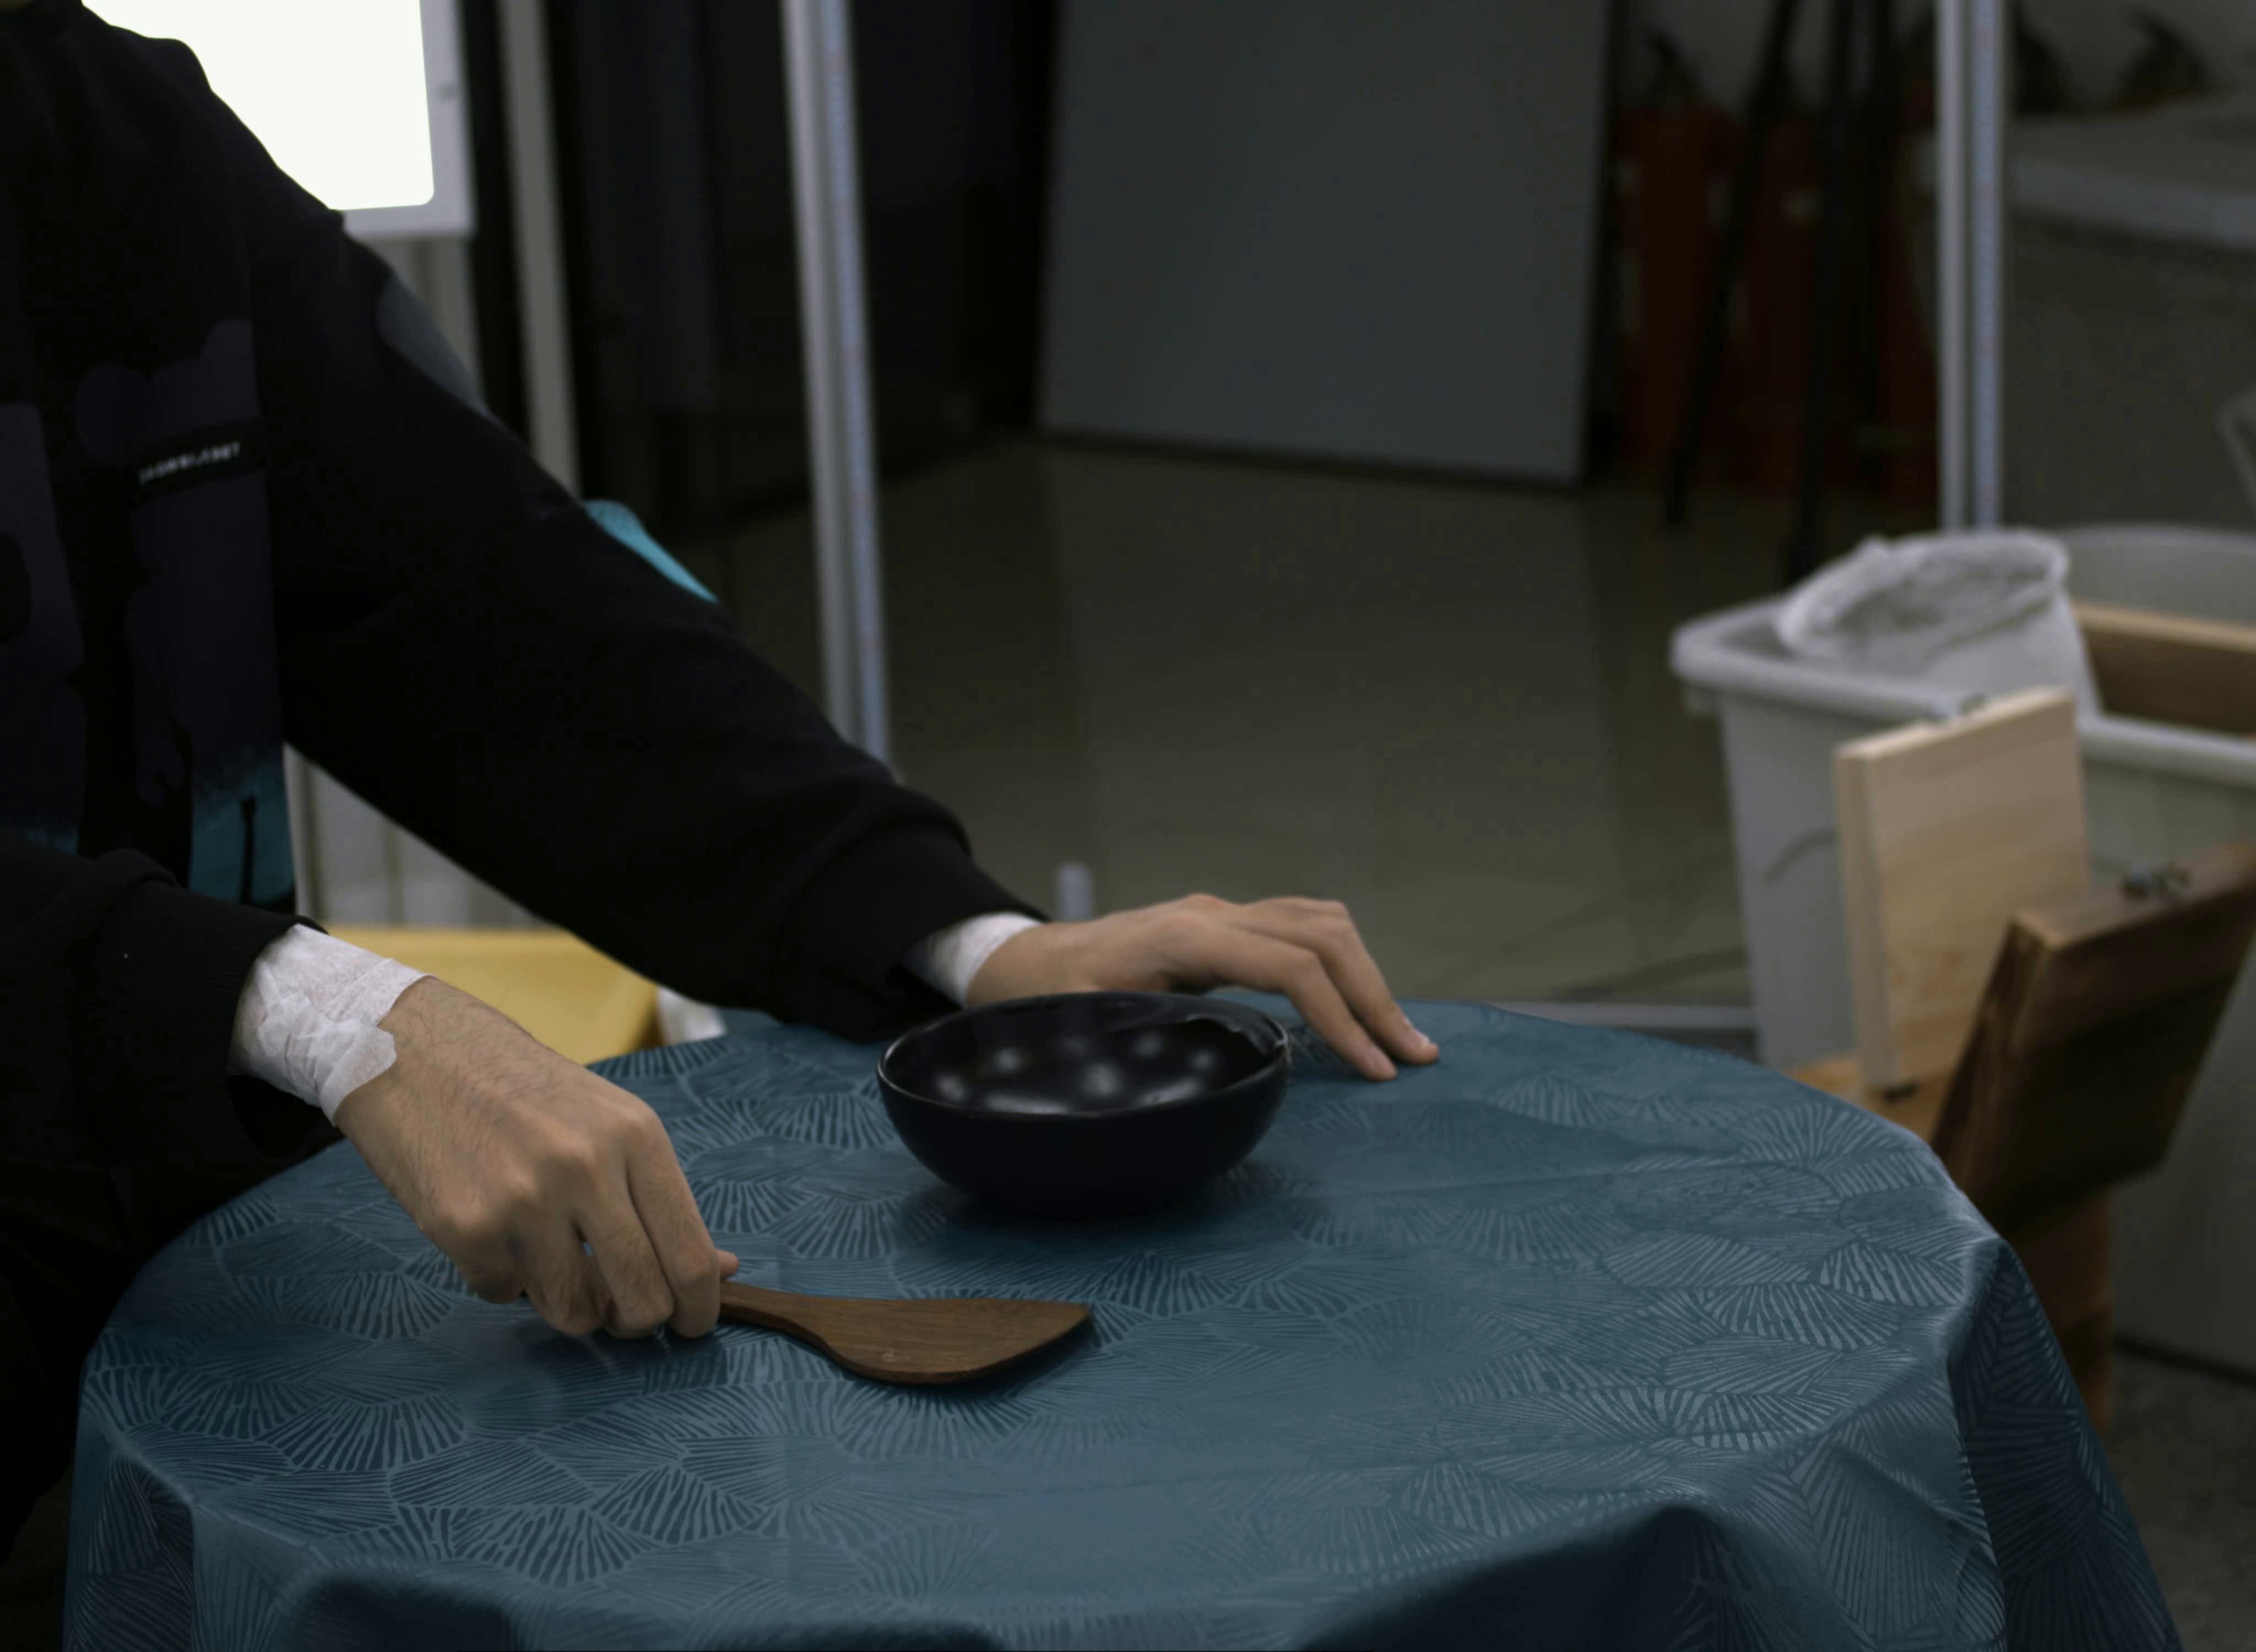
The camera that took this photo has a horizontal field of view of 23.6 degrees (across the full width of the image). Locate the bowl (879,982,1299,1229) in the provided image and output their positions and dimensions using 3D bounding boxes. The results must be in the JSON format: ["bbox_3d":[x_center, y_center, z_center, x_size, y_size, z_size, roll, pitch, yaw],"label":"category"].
[{"bbox_3d":[-0.011,0.097,1.770,0.138,0.050,0.140,-4,17,0],"label":"bowl"}]

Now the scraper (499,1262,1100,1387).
[{"bbox_3d":[-0.108,0.151,1.667,0.212,0.011,0.074,5,14,34],"label":"scraper"}]
